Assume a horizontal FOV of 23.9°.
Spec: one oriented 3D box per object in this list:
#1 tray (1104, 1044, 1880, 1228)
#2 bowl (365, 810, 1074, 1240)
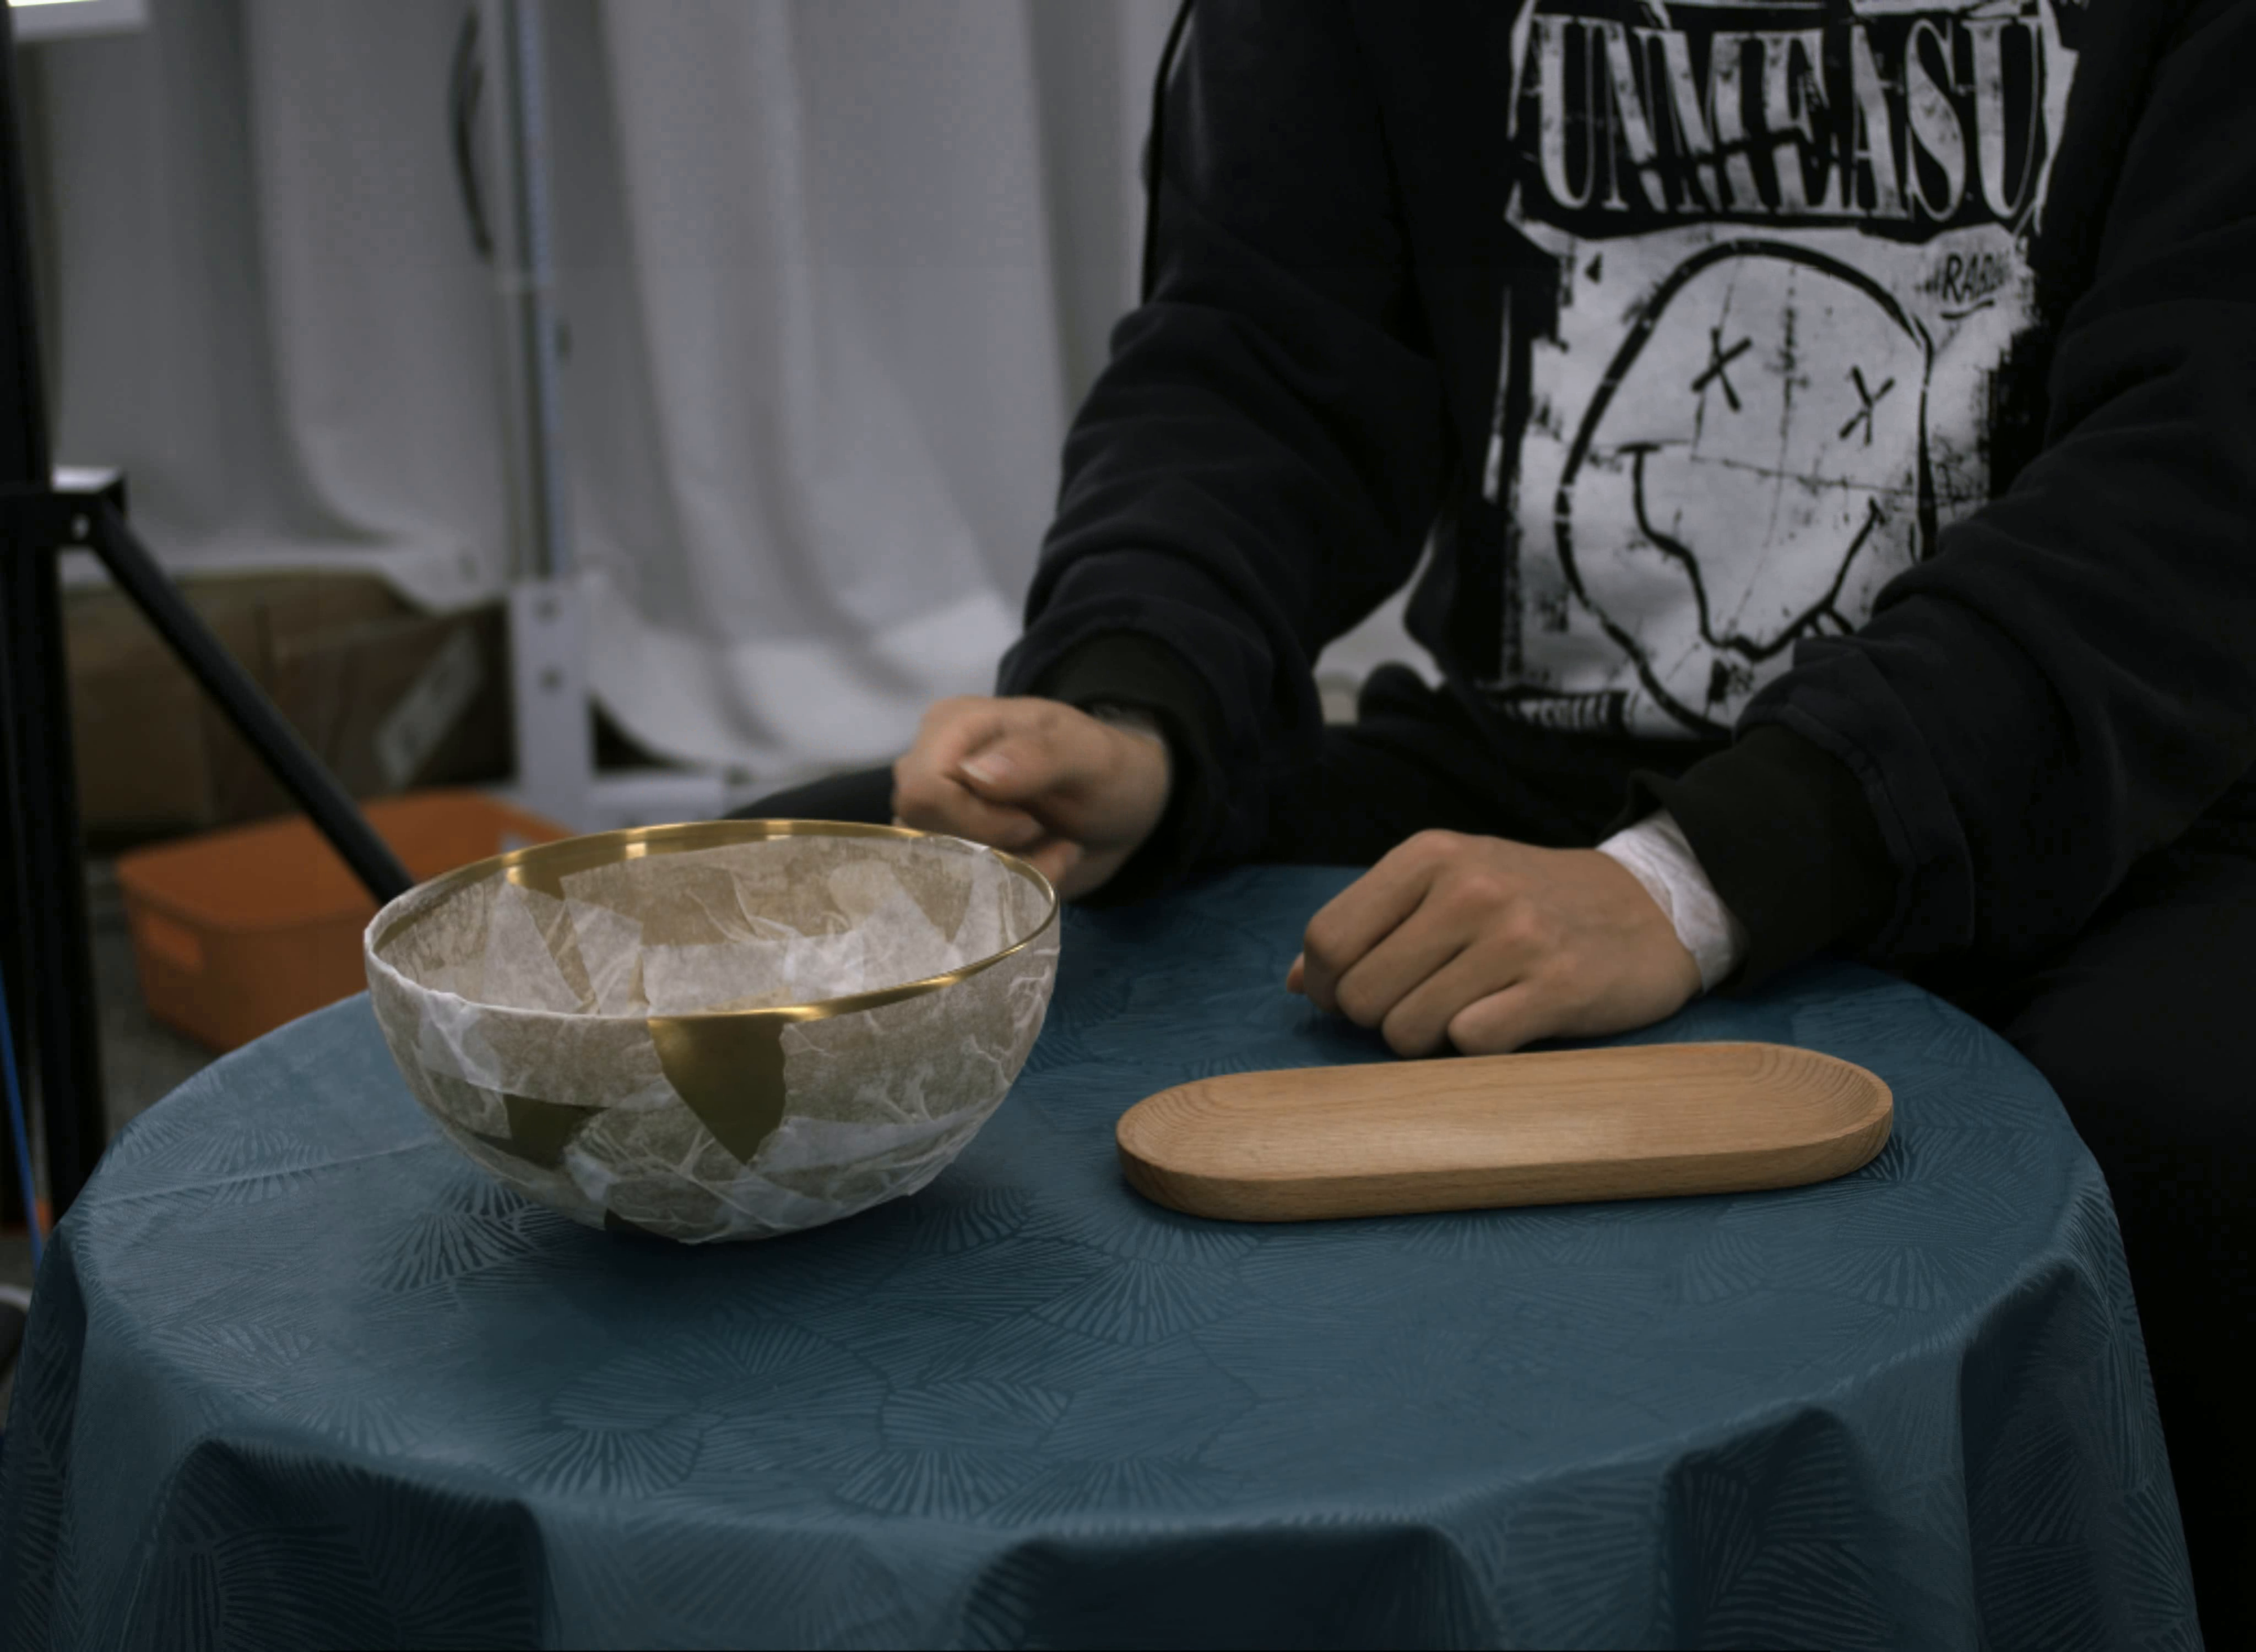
[{"bbox_3d":[0.108,0.092,1.568,0.229,0.020,0.102,-6,14,-3],"label":"tray"},{"bbox_3d":[-0.114,0.066,1.553,0.213,0.094,0.216,-3,15,0],"label":"bowl"}]
